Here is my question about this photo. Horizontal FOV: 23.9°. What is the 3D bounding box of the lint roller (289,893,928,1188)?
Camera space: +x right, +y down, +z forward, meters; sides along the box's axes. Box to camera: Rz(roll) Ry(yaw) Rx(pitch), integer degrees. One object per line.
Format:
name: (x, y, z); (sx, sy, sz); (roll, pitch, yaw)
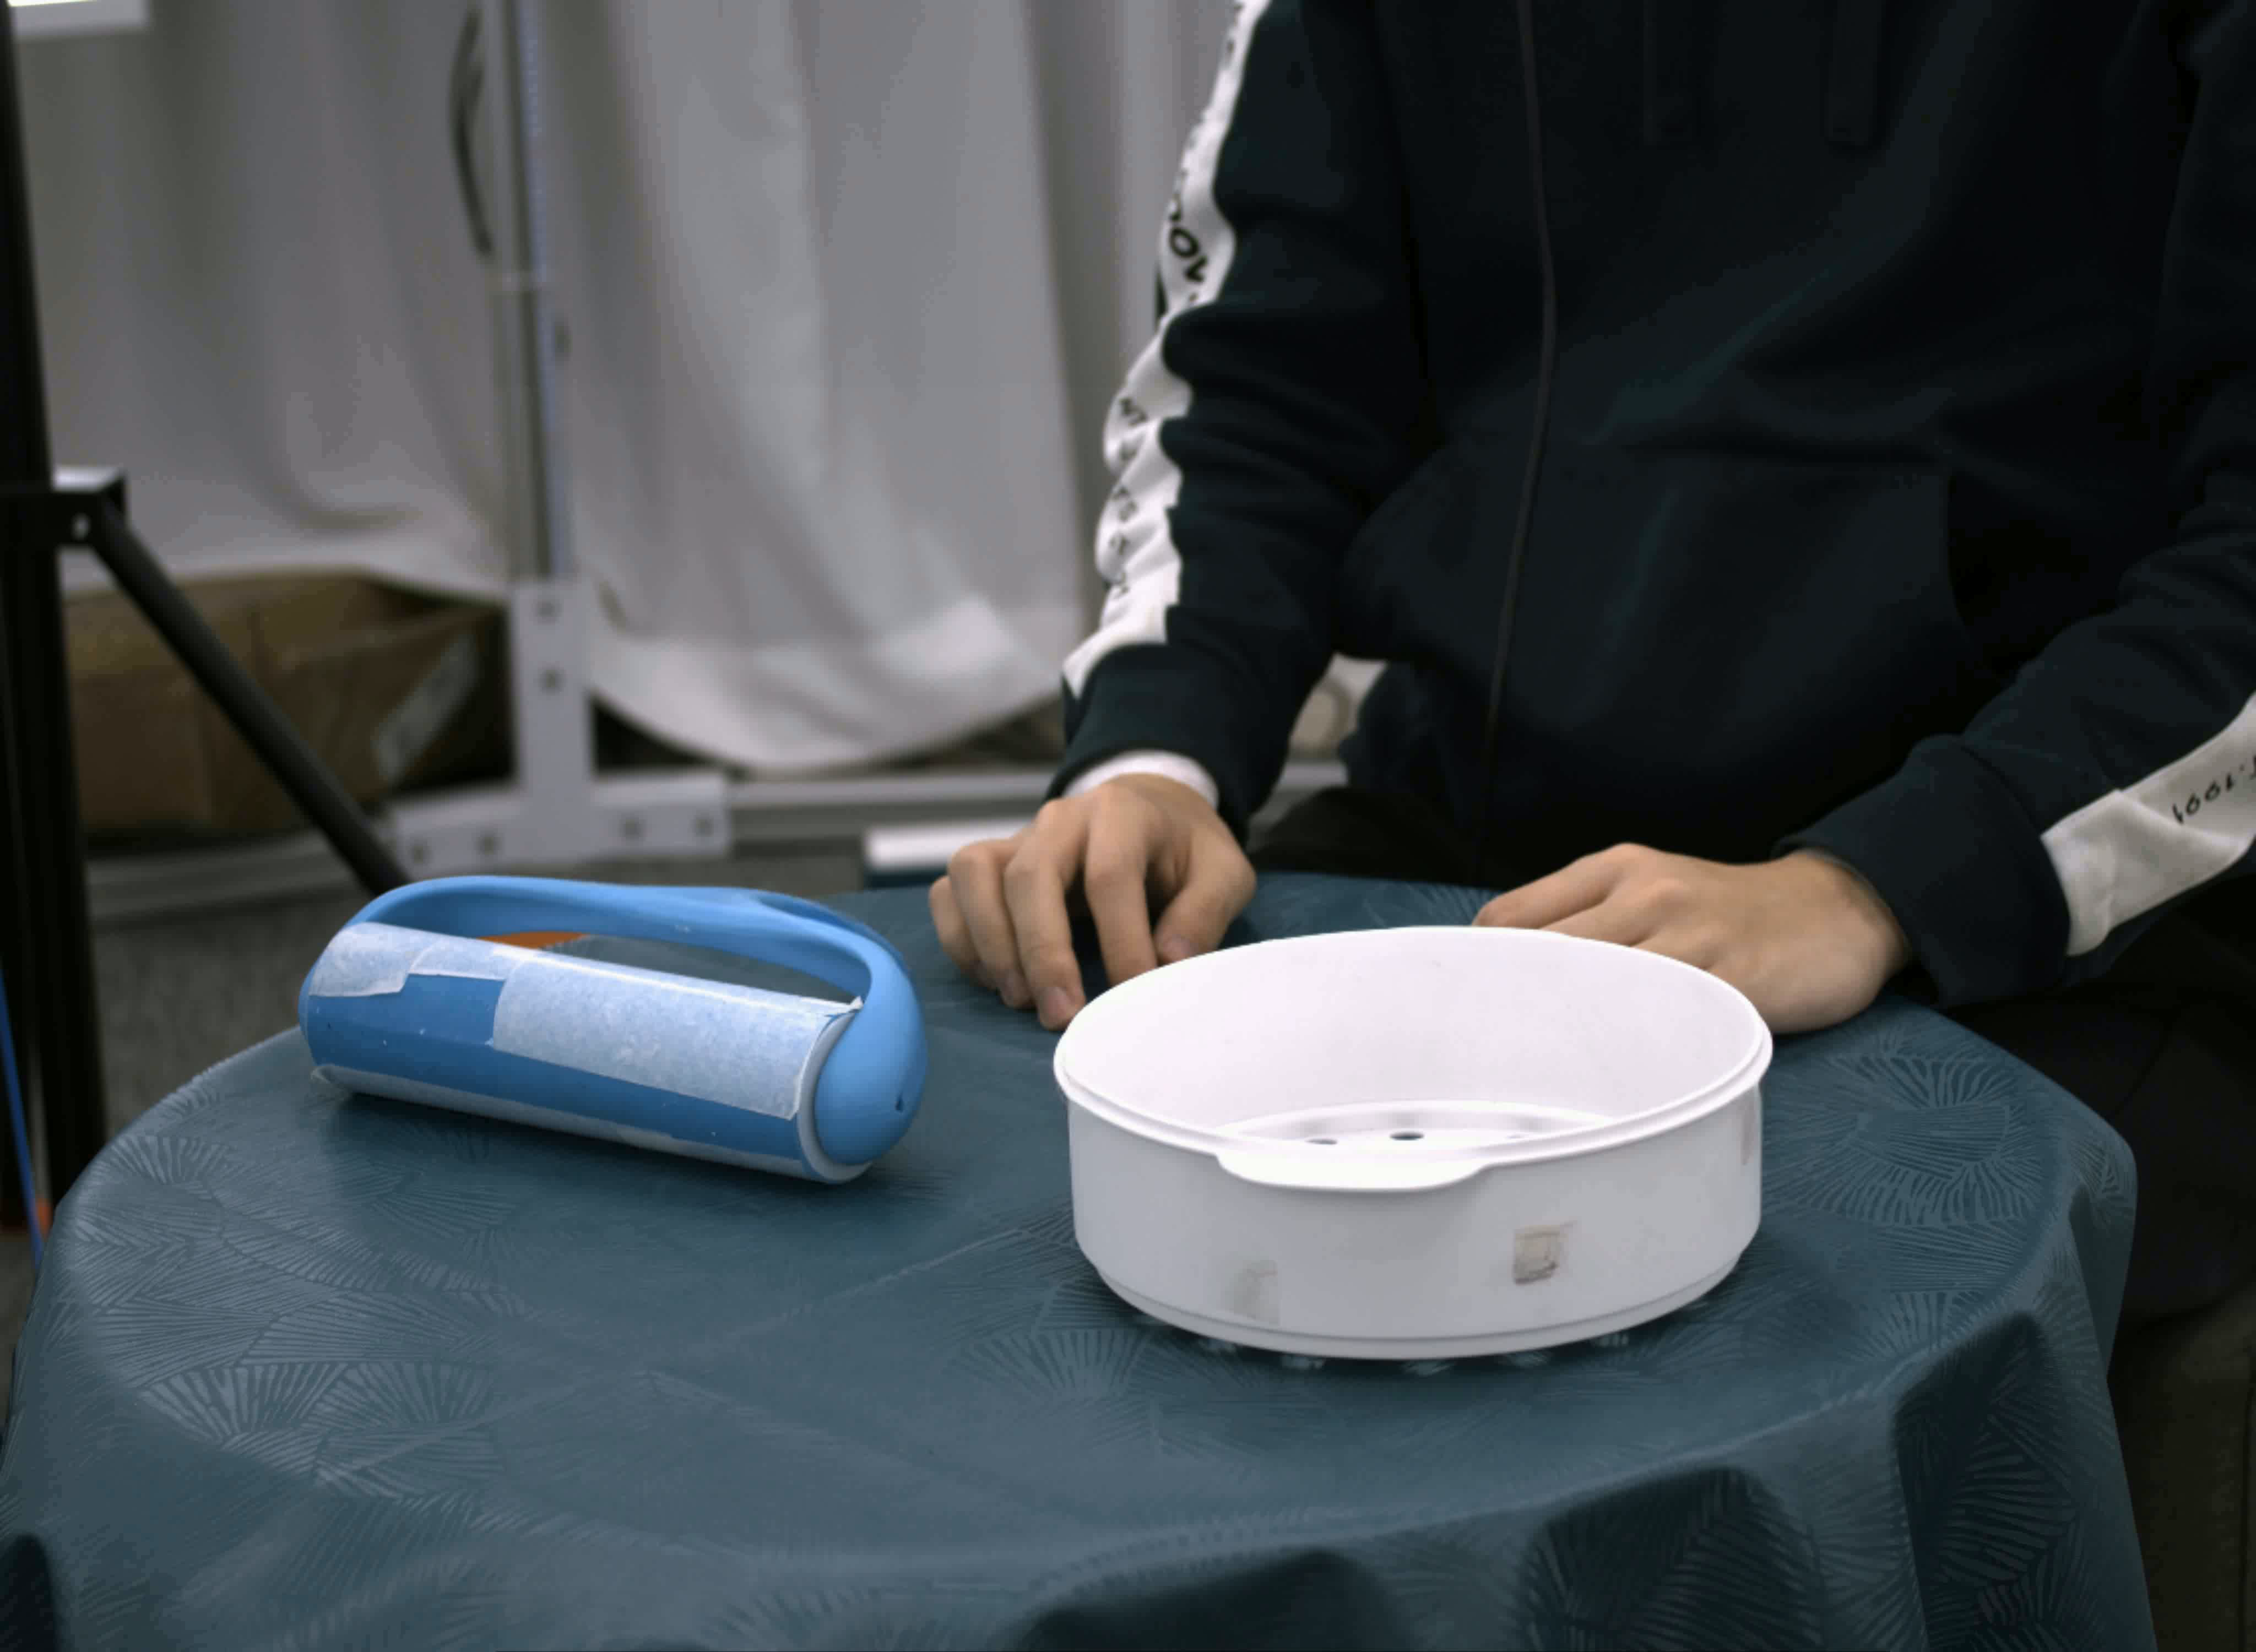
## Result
lint roller: (-0.133, 0.054, 1.672); (0.233, 0.068, 0.177); (4, 18, 31)

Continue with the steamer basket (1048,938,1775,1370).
steamer basket: (0.079, 0.091, 1.479); (0.203, 0.069, 0.229); (2, 16, 14)
